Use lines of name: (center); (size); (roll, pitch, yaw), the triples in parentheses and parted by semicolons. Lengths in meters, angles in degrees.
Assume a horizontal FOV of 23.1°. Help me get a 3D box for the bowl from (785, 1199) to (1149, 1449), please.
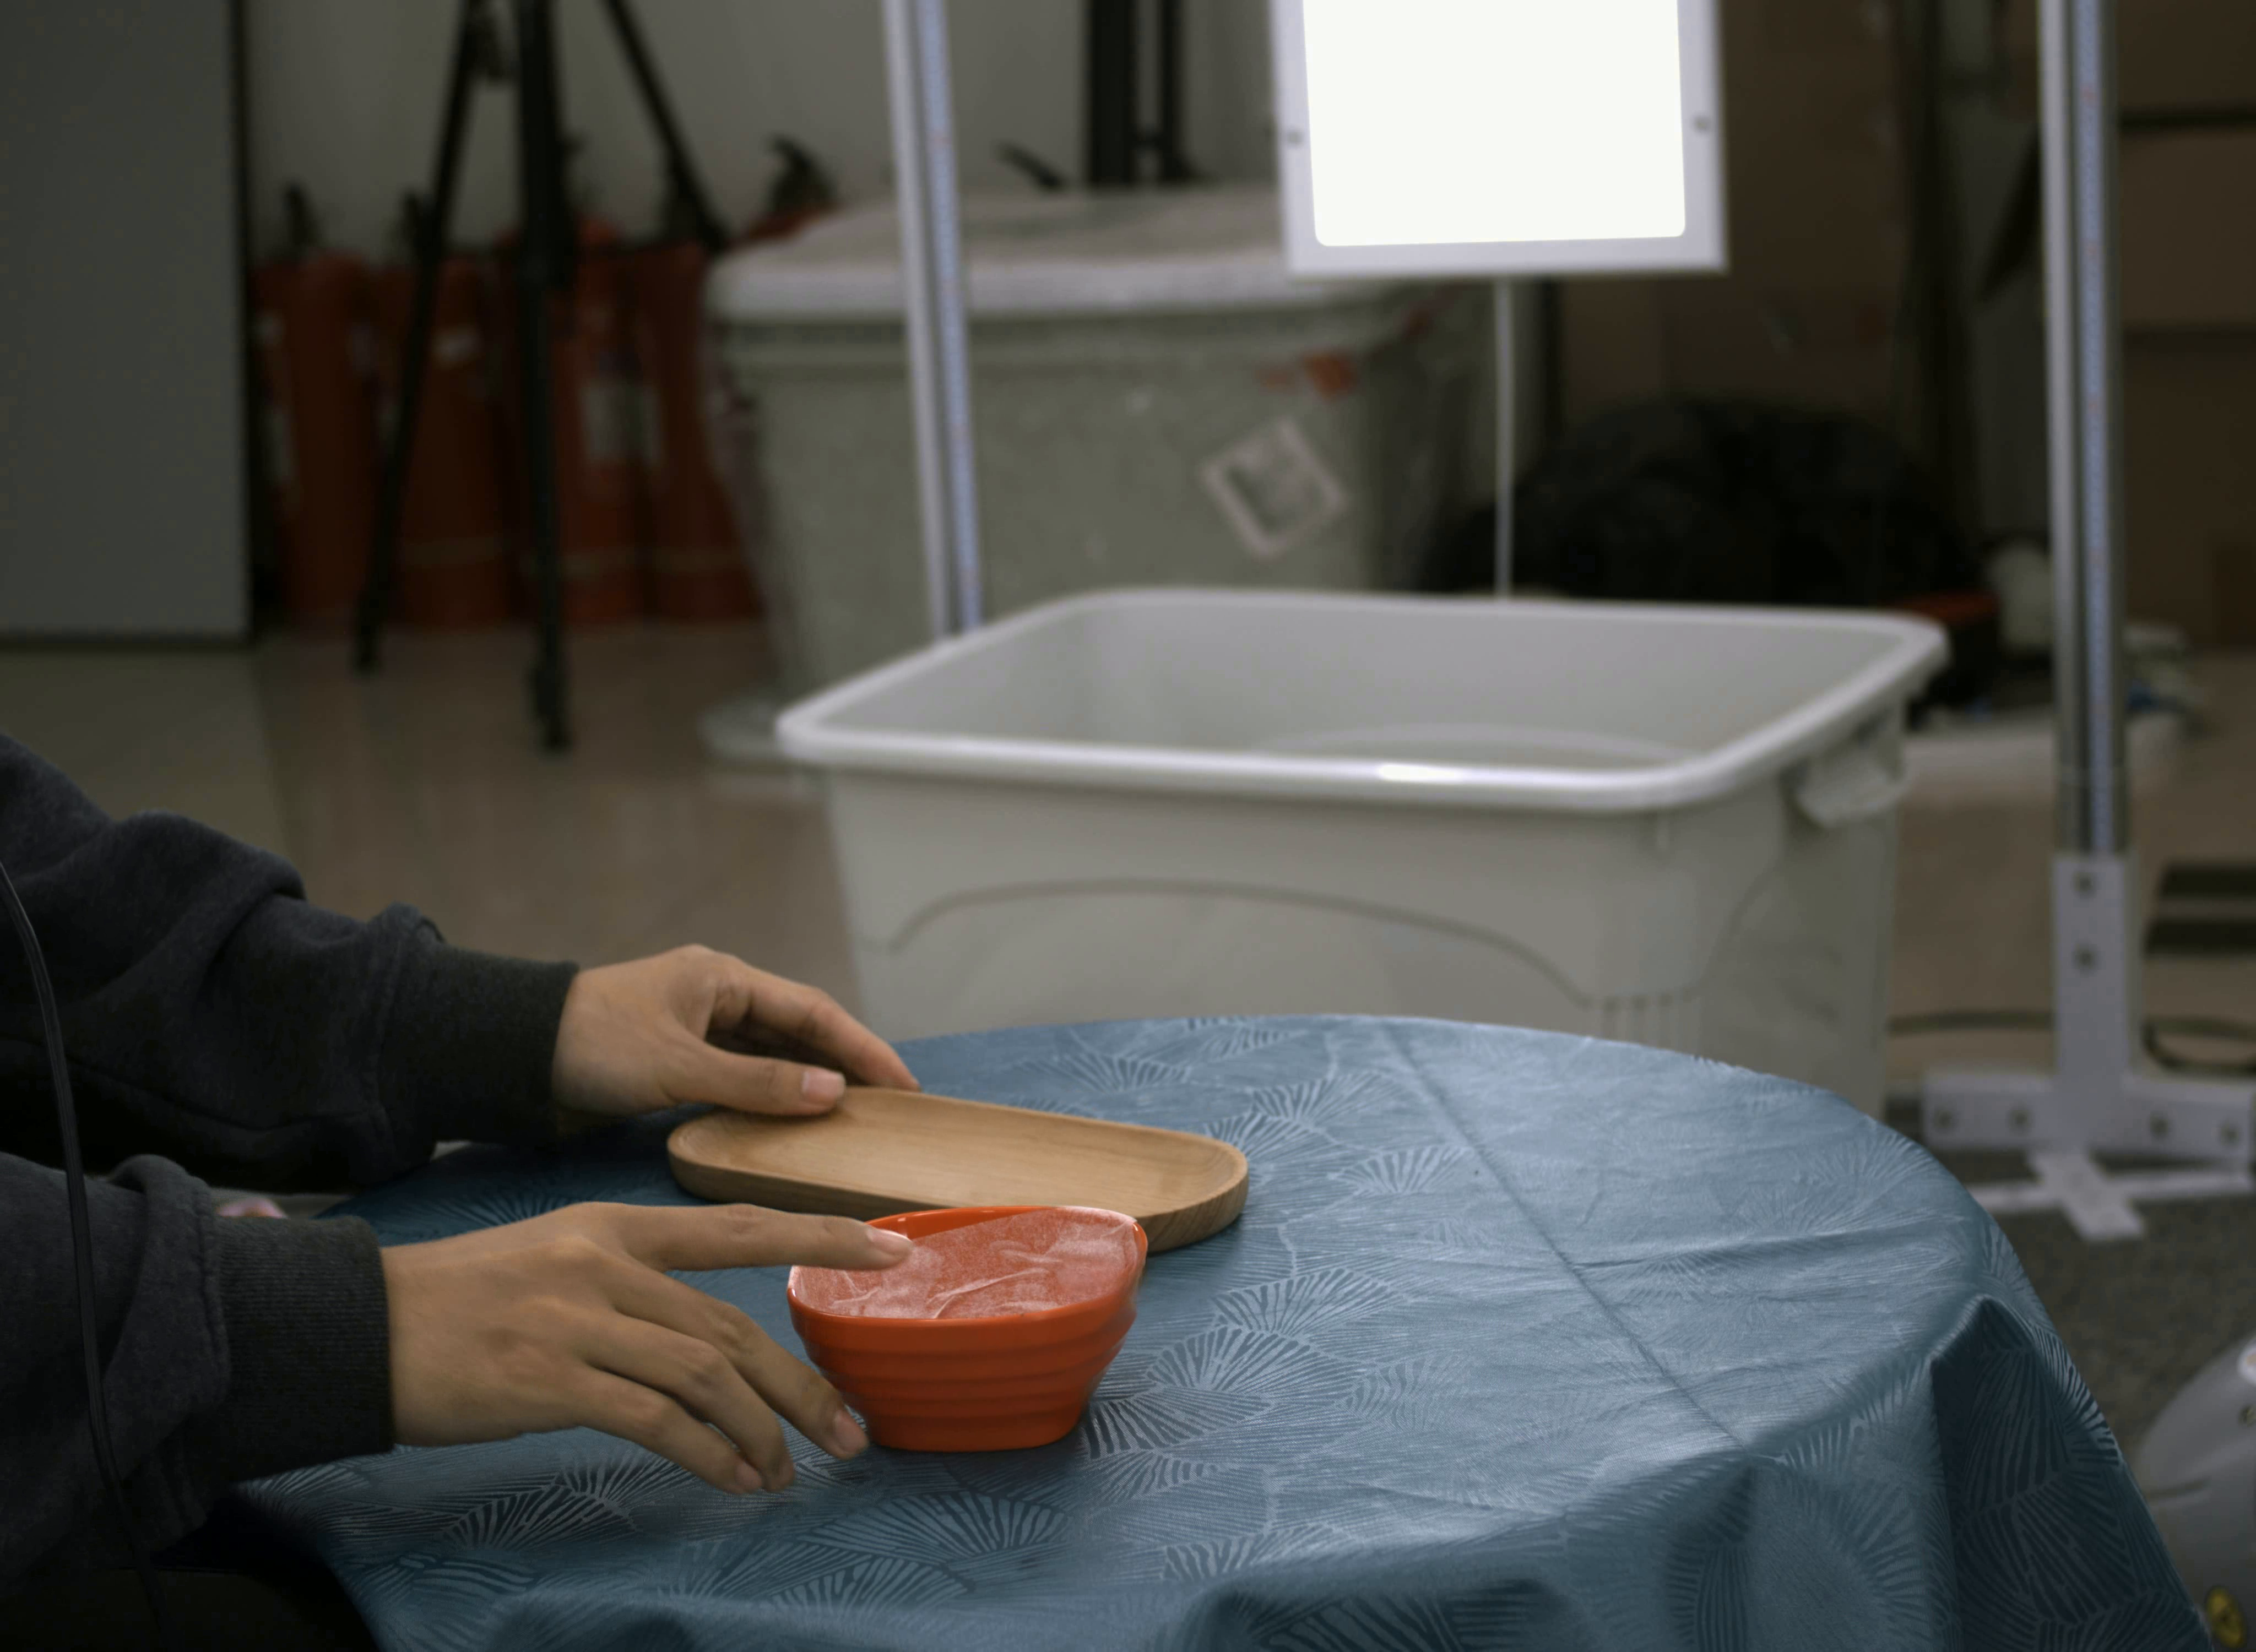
bowl: (-0.047, 0.155, 1.686); (0.118, 0.051, 0.119); (-5, 15, 0)

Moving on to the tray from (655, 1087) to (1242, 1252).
tray: (-0.064, 0.120, 1.914); (0.236, 0.020, 0.099); (5, 16, 37)
